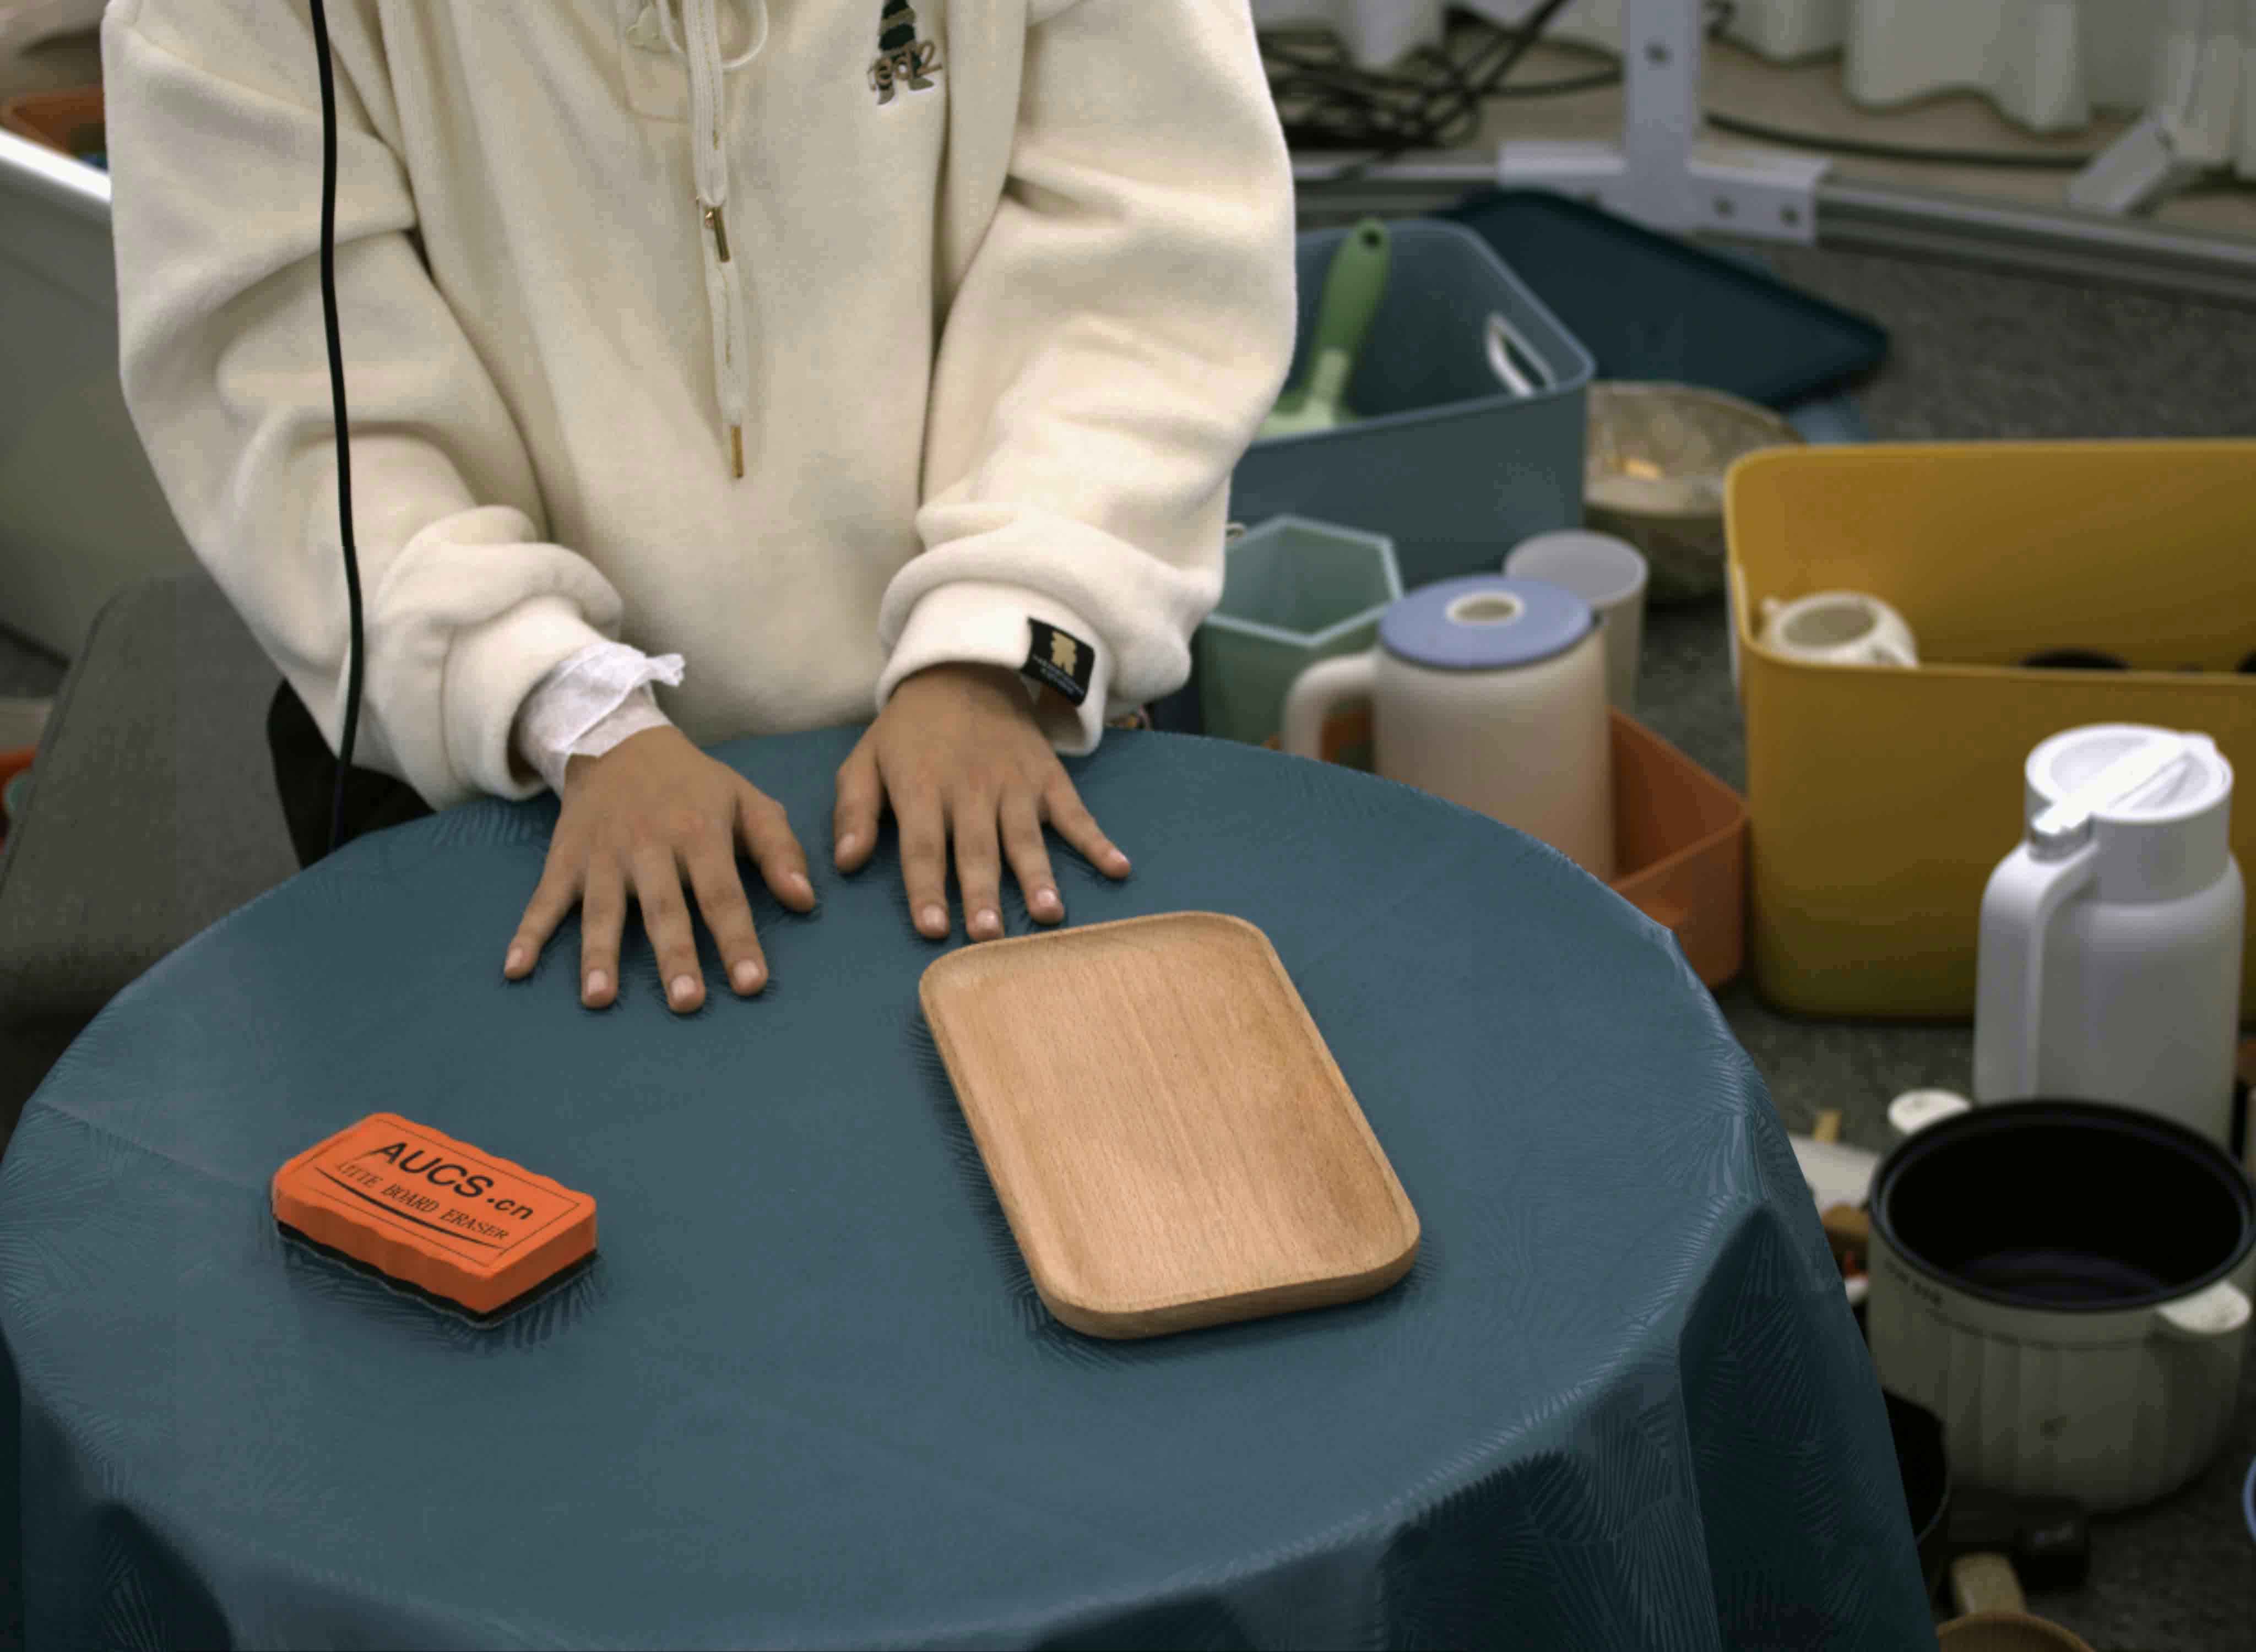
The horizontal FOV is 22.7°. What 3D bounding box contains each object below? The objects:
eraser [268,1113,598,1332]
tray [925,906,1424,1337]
[{"bbox_3d":[-0.228,0.130,1.843,0.108,0.022,0.060,20,36,36],"label":"eraser"},{"bbox_3d":[0.012,0.096,1.889,0.130,0.022,0.253,-5,27,-10],"label":"tray"}]
